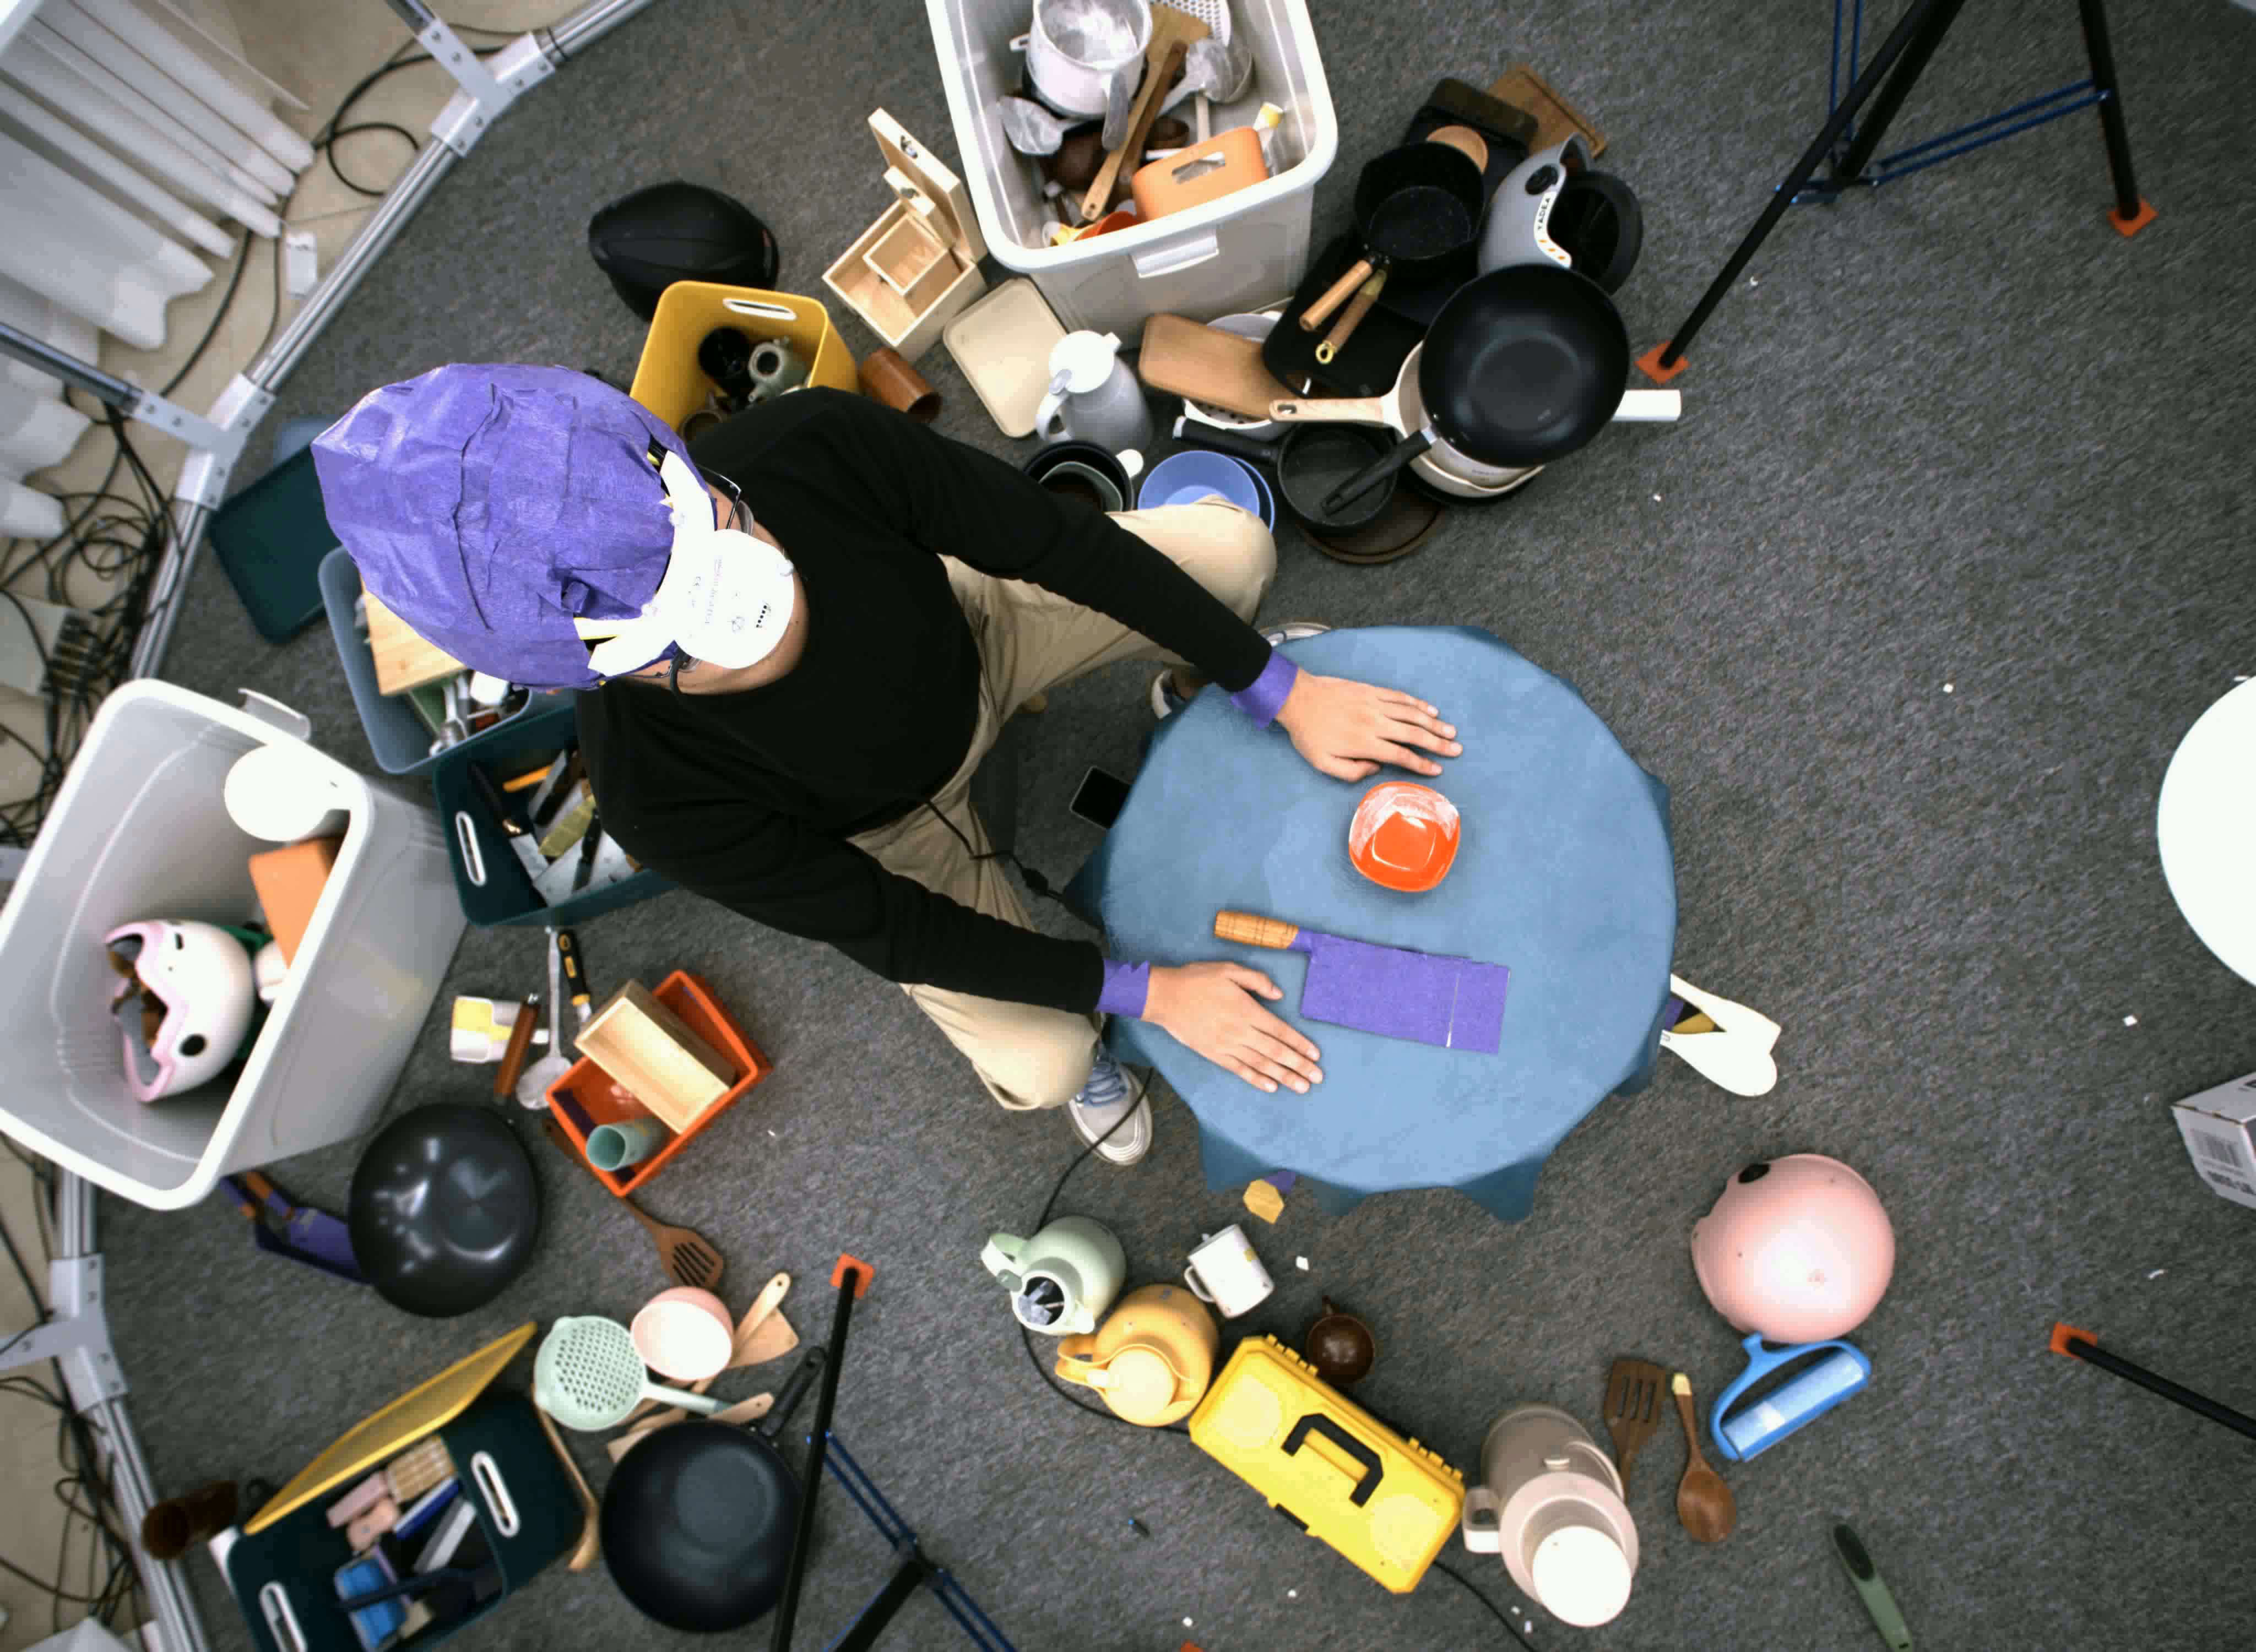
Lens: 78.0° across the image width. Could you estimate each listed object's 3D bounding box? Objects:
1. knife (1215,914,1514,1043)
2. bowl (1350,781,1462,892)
[{"bbox_3d":[0.241,0.161,1.449,0.316,0.032,0.103,9,88,11],"label":"knife"},{"bbox_3d":[0.287,0.011,1.432,0.119,0.051,0.118,0,89,8],"label":"bowl"}]
